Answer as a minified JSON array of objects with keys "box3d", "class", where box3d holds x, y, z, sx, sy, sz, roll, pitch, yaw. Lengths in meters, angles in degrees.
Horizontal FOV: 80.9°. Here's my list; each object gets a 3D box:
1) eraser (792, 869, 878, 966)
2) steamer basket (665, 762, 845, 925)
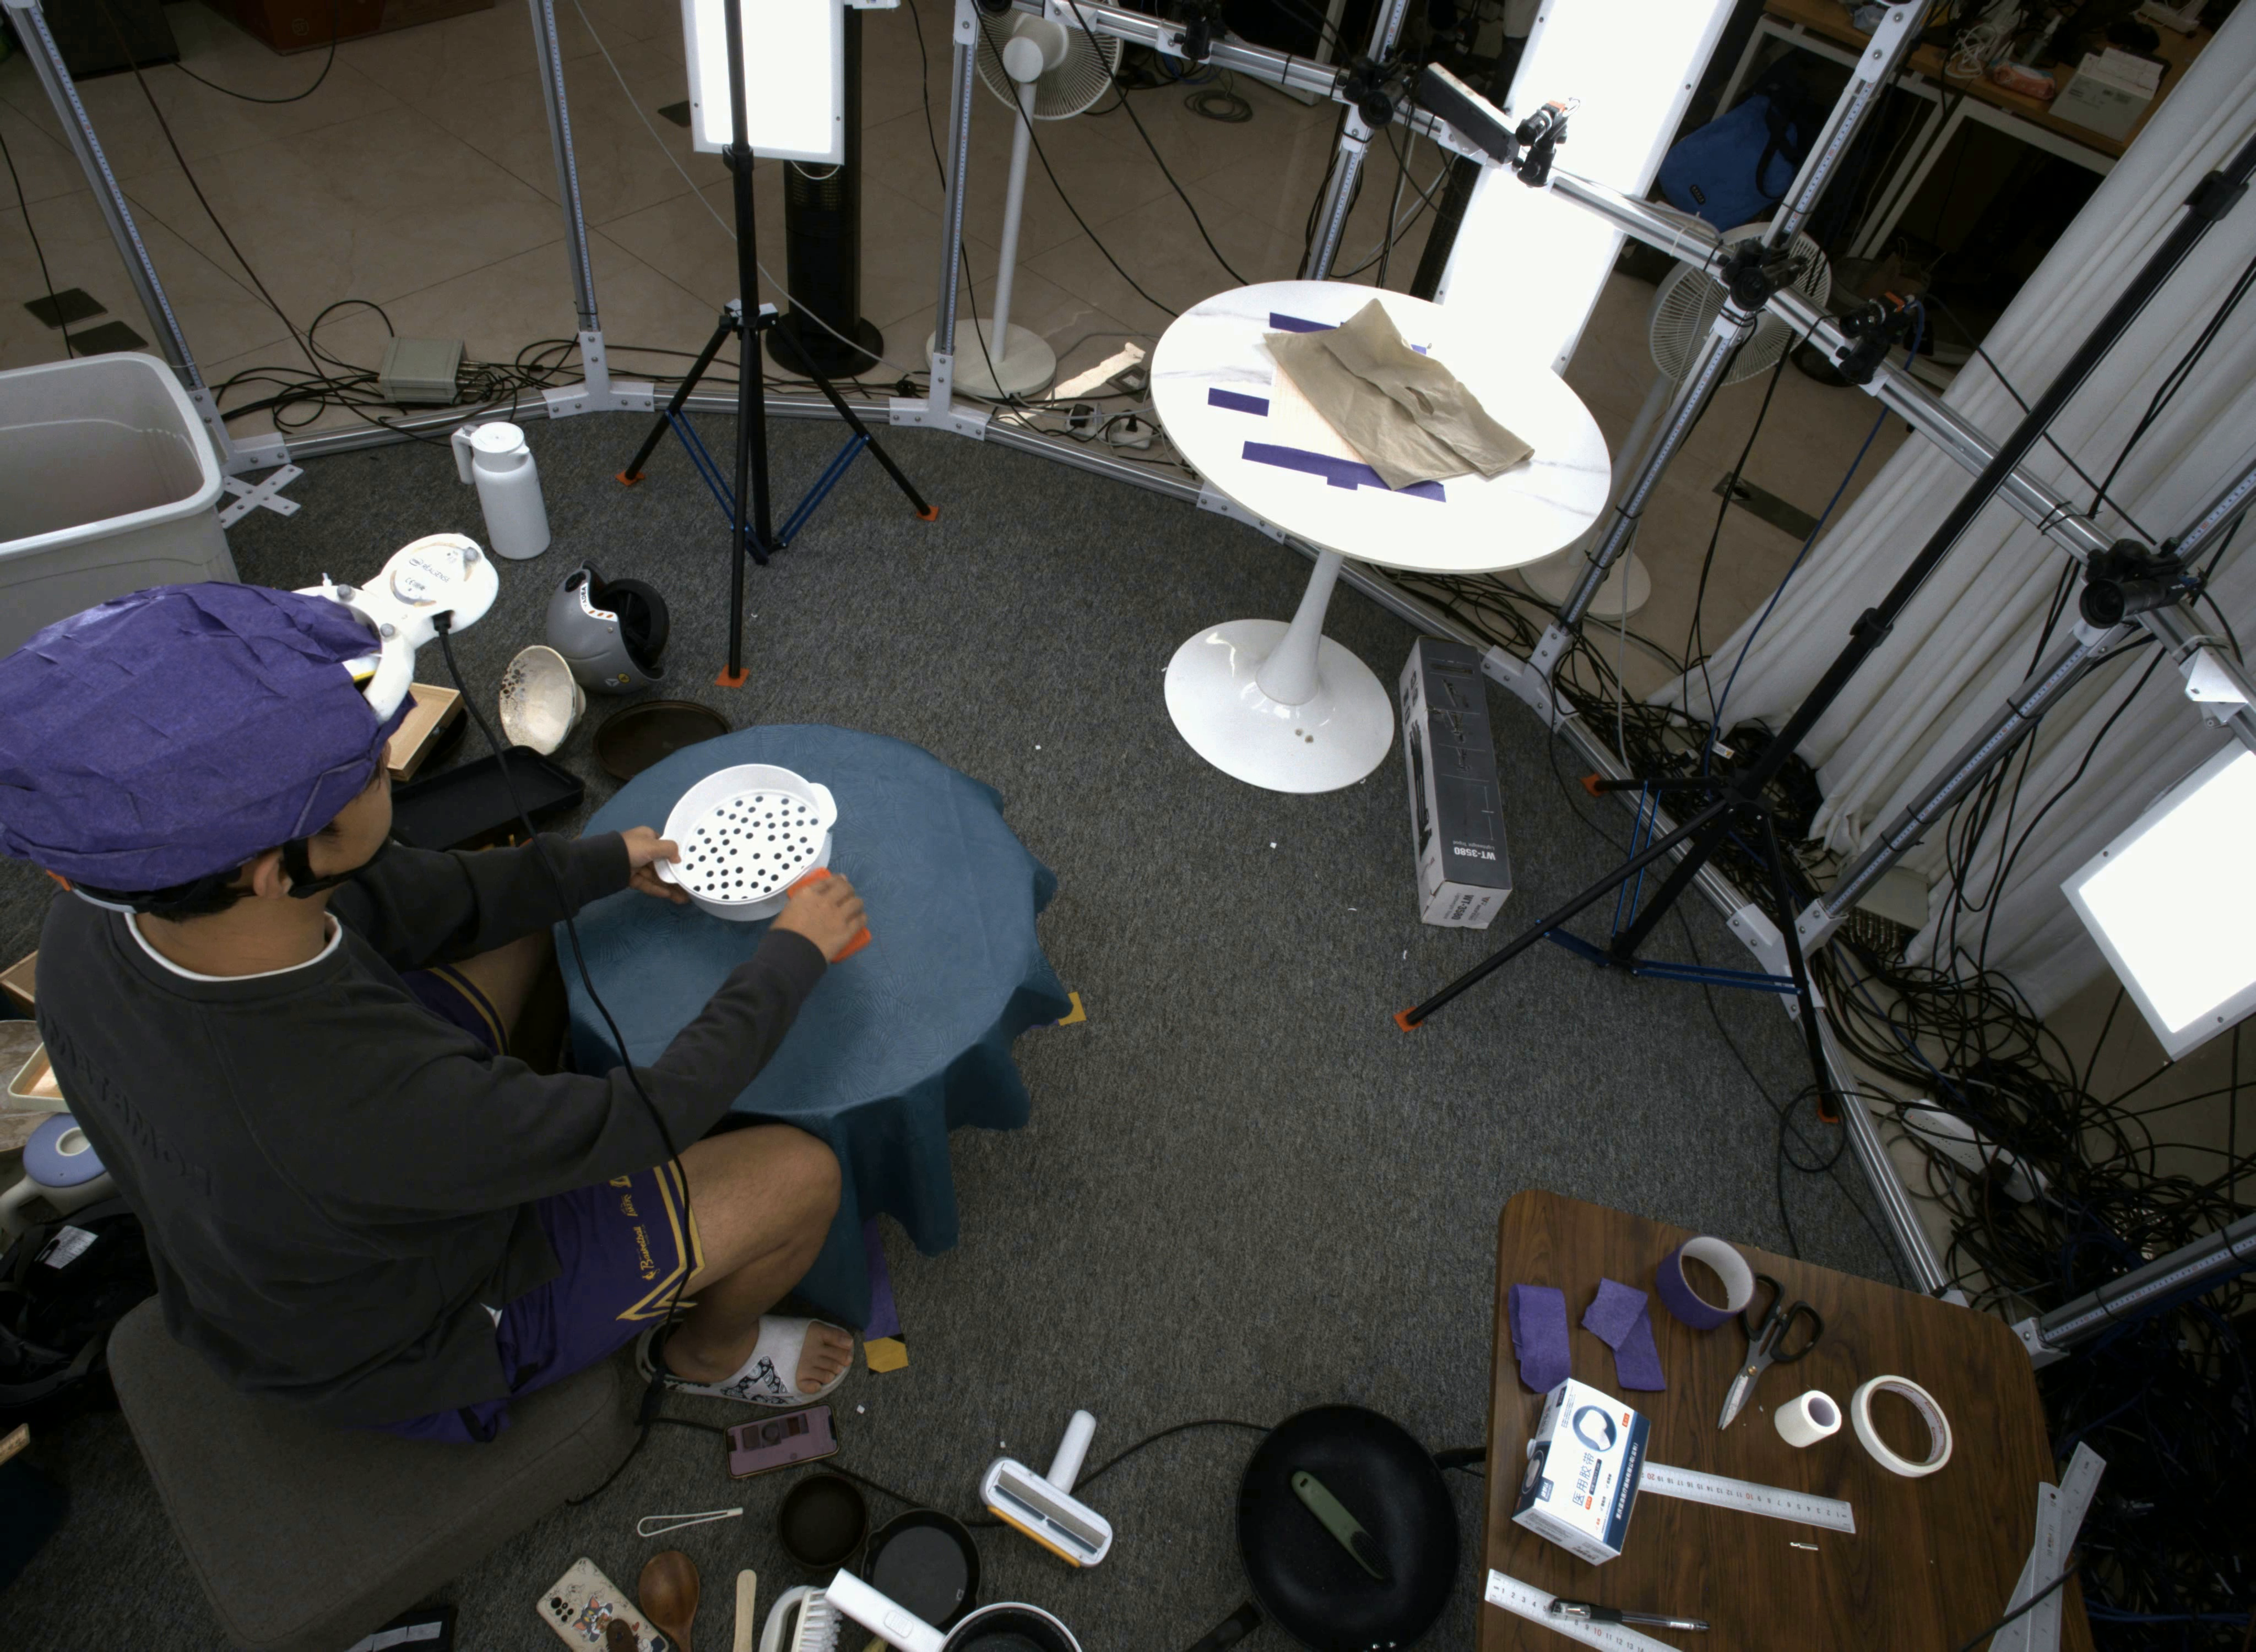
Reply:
[{"box3d":[-0.349,0.107,1.546,0.059,0.023,0.108,-34,86,-15],"class":"eraser"},{"box3d":[-0.461,0.022,1.625,0.230,0.071,0.198,-23,67,-10],"class":"steamer basket"}]
